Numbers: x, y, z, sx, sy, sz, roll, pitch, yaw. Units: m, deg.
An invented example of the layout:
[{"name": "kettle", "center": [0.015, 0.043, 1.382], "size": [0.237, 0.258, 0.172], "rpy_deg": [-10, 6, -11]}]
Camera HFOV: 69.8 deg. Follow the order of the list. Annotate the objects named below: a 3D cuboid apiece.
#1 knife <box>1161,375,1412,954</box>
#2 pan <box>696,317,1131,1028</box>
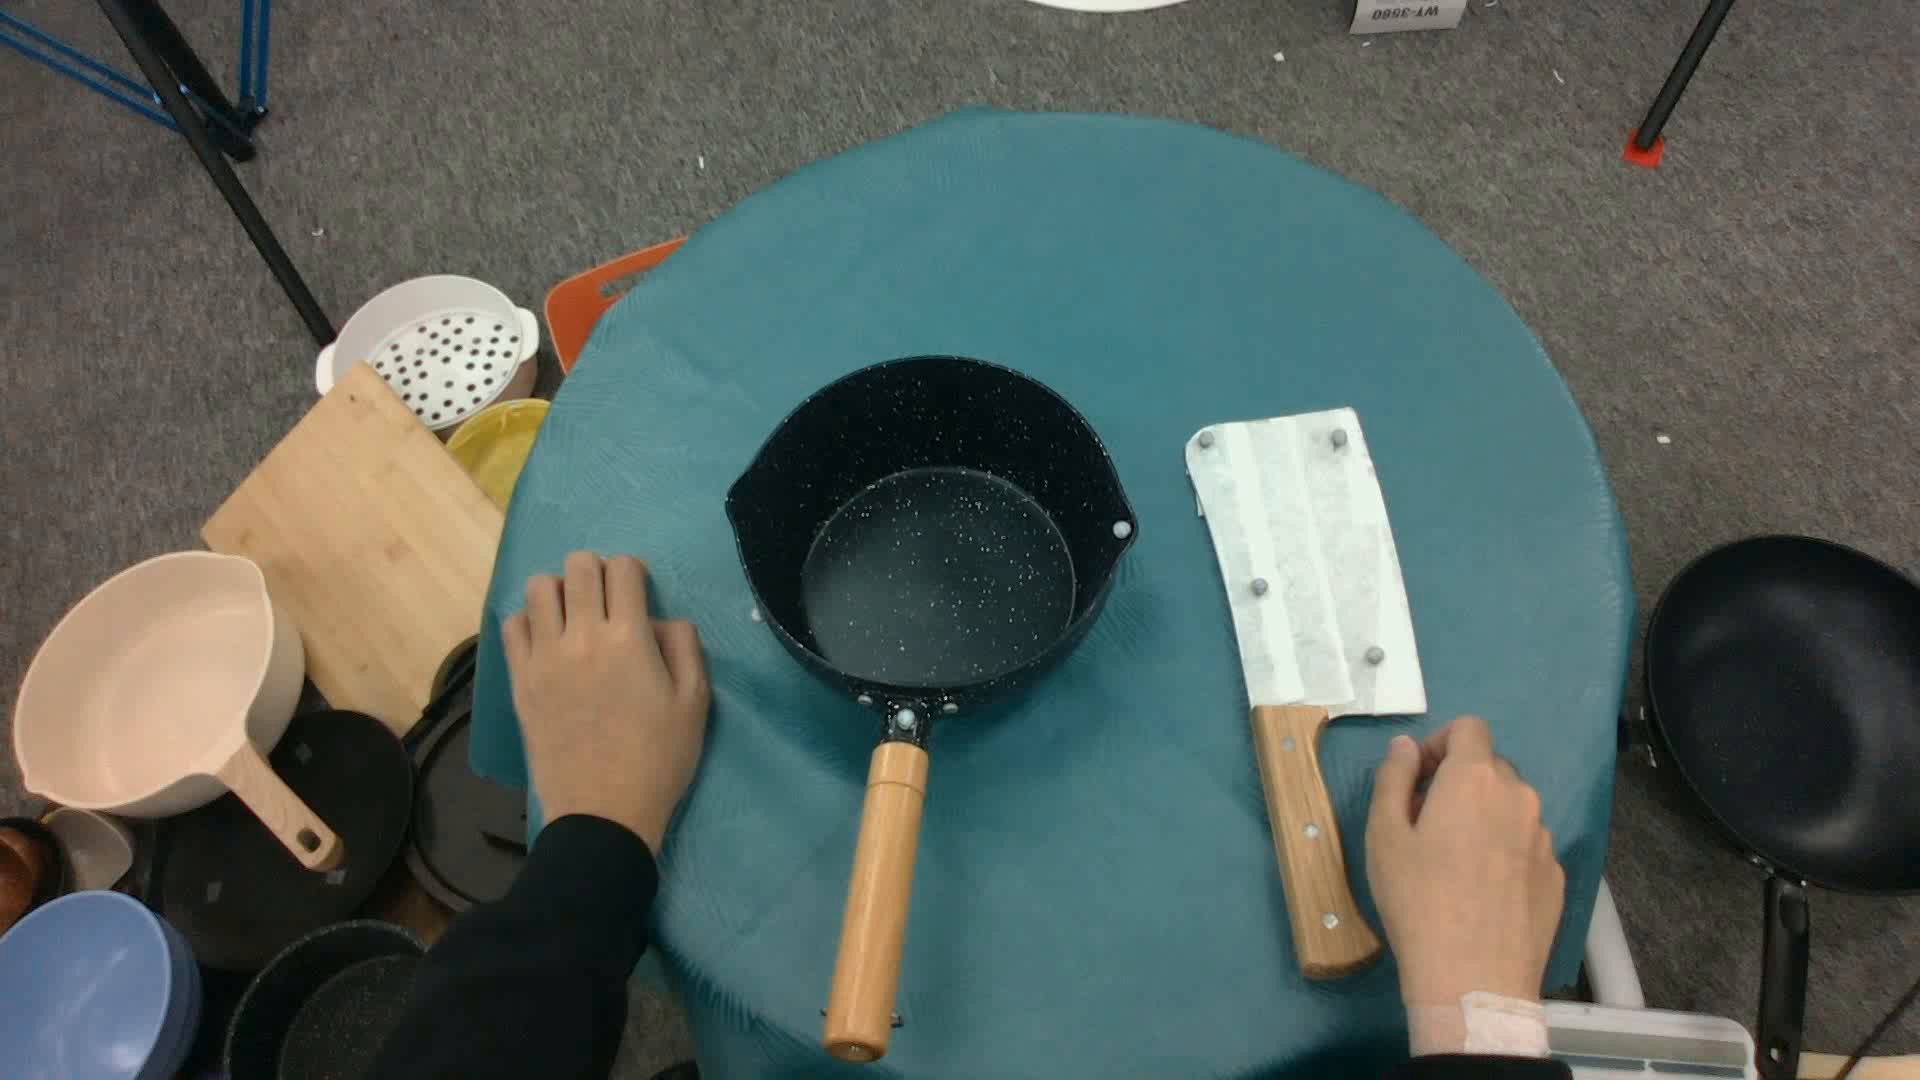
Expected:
[{"name": "knife", "center": [0.166, 0.046, 0.691], "size": [0.114, 0.021, 0.316], "rpy_deg": [-1, 60, 1]}, {"name": "pan", "center": [-0.027, 0.054, 0.641], "size": [0.207, 0.108, 0.344], "rpy_deg": [3, 61, 2]}]
